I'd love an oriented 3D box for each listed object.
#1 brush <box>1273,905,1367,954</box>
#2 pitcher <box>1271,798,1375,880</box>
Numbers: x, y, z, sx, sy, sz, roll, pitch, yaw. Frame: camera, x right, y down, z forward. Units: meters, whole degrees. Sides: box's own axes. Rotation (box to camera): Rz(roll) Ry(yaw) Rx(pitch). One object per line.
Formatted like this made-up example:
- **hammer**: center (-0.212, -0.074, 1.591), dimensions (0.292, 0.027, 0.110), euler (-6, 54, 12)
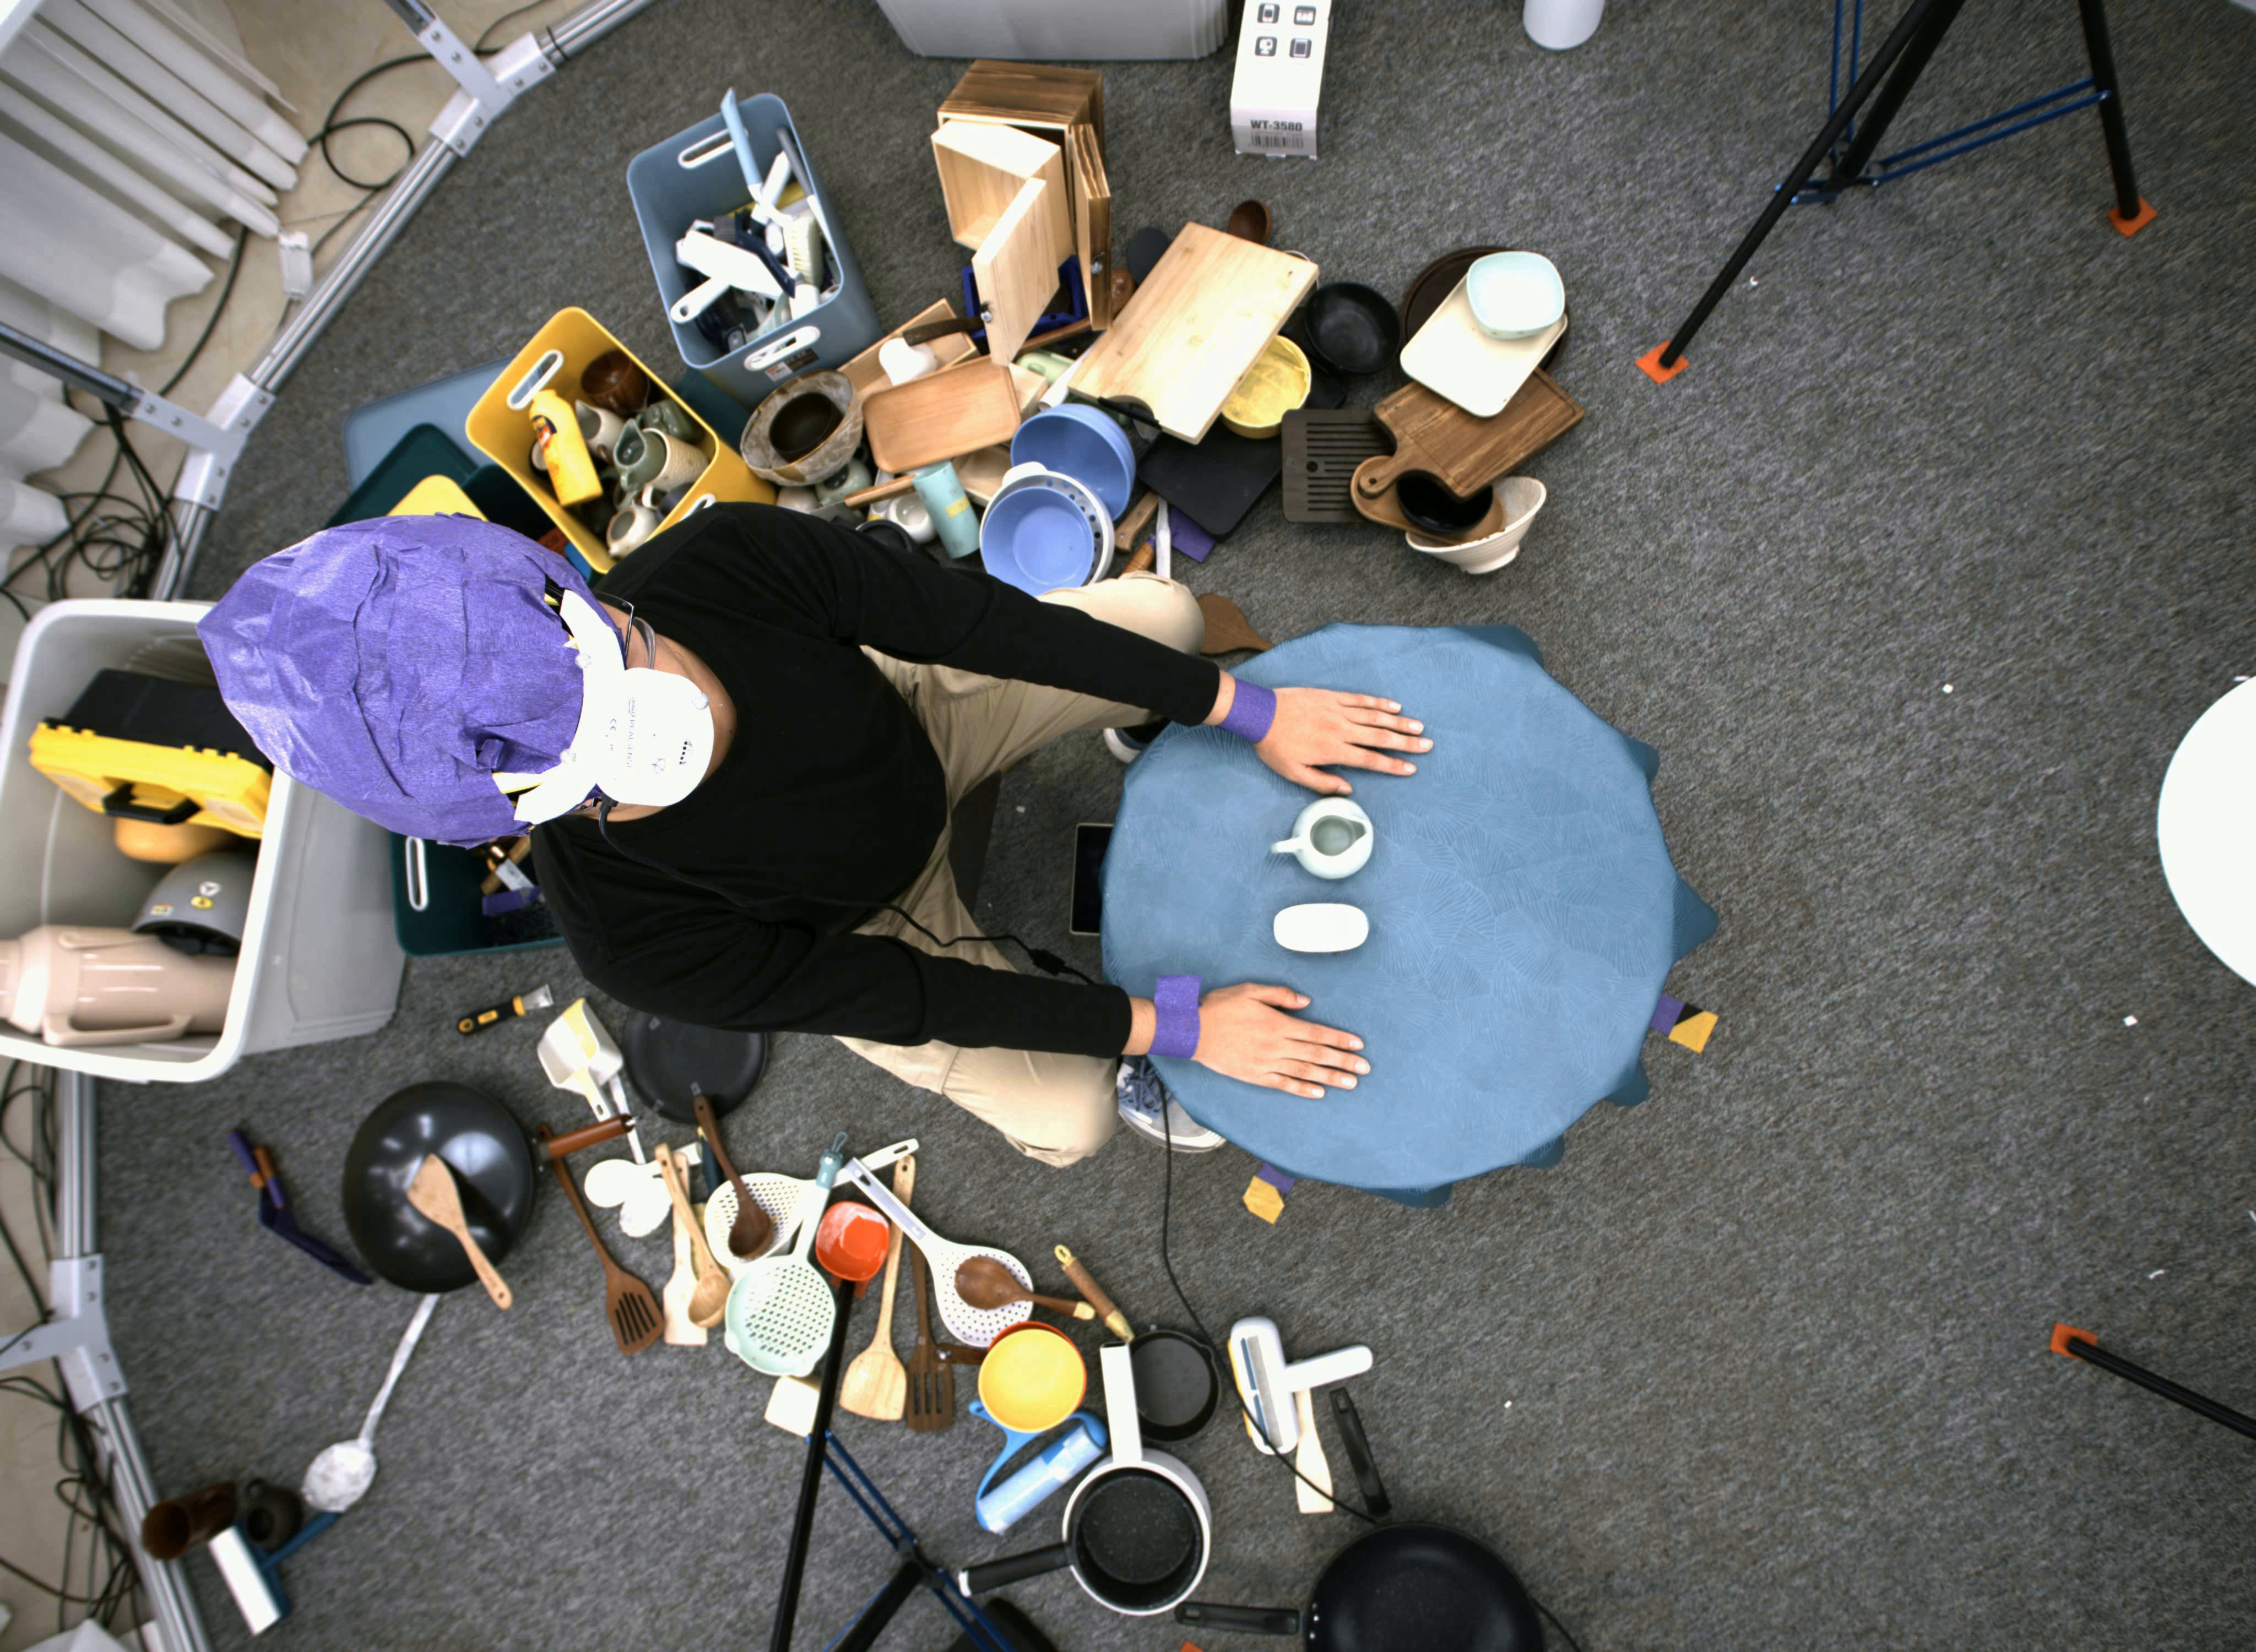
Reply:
- **brush**: center (0.199, 0.105, 1.432), dimensions (0.099, 0.073, 0.050), euler (1, 83, 9)
- **pitcher**: center (0.203, 0.015, 1.447), dimensions (0.109, 0.060, 0.085), euler (-15, 83, 12)
